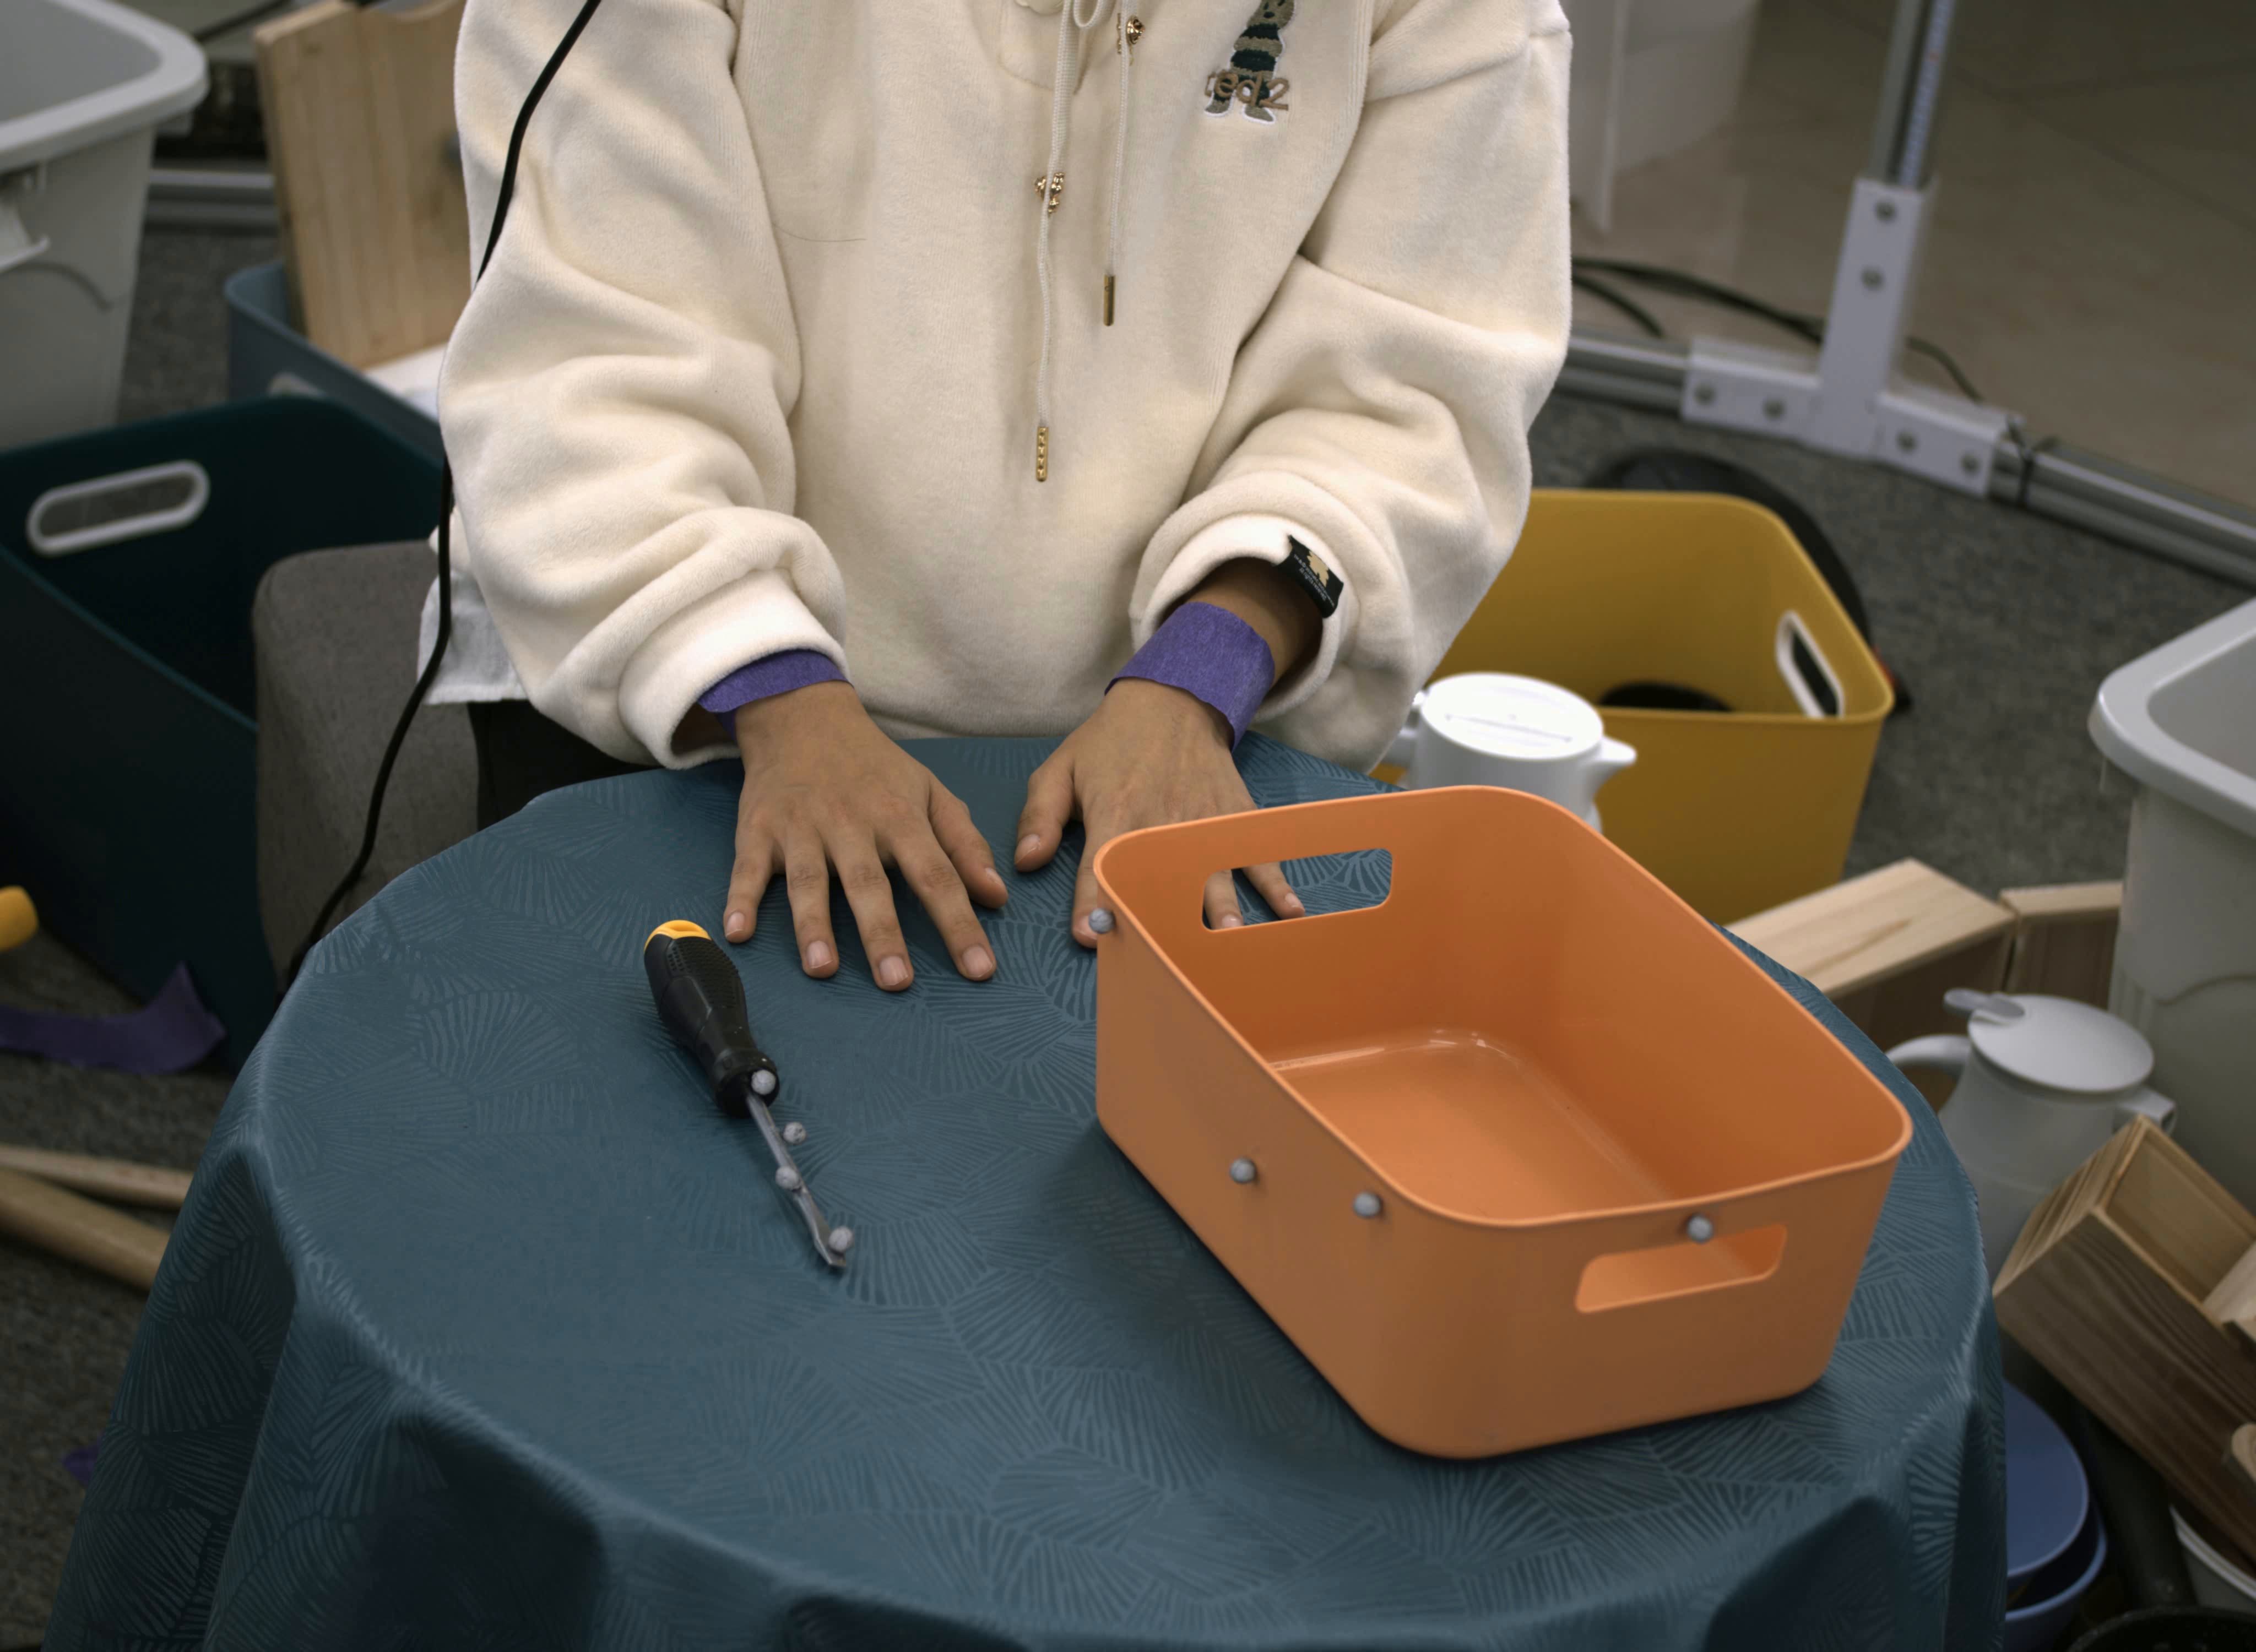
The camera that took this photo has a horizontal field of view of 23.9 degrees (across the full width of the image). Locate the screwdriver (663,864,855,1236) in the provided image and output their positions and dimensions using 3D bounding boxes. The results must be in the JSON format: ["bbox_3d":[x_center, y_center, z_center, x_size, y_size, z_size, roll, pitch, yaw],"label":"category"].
[{"bbox_3d":[-0.121,0.078,1.819,0.031,0.031,0.200,-5,39,-23],"label":"screwdriver"}]

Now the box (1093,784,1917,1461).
[{"bbox_3d":[0.116,0.096,1.767,0.198,0.102,0.276,-8,31,-26],"label":"box"}]
